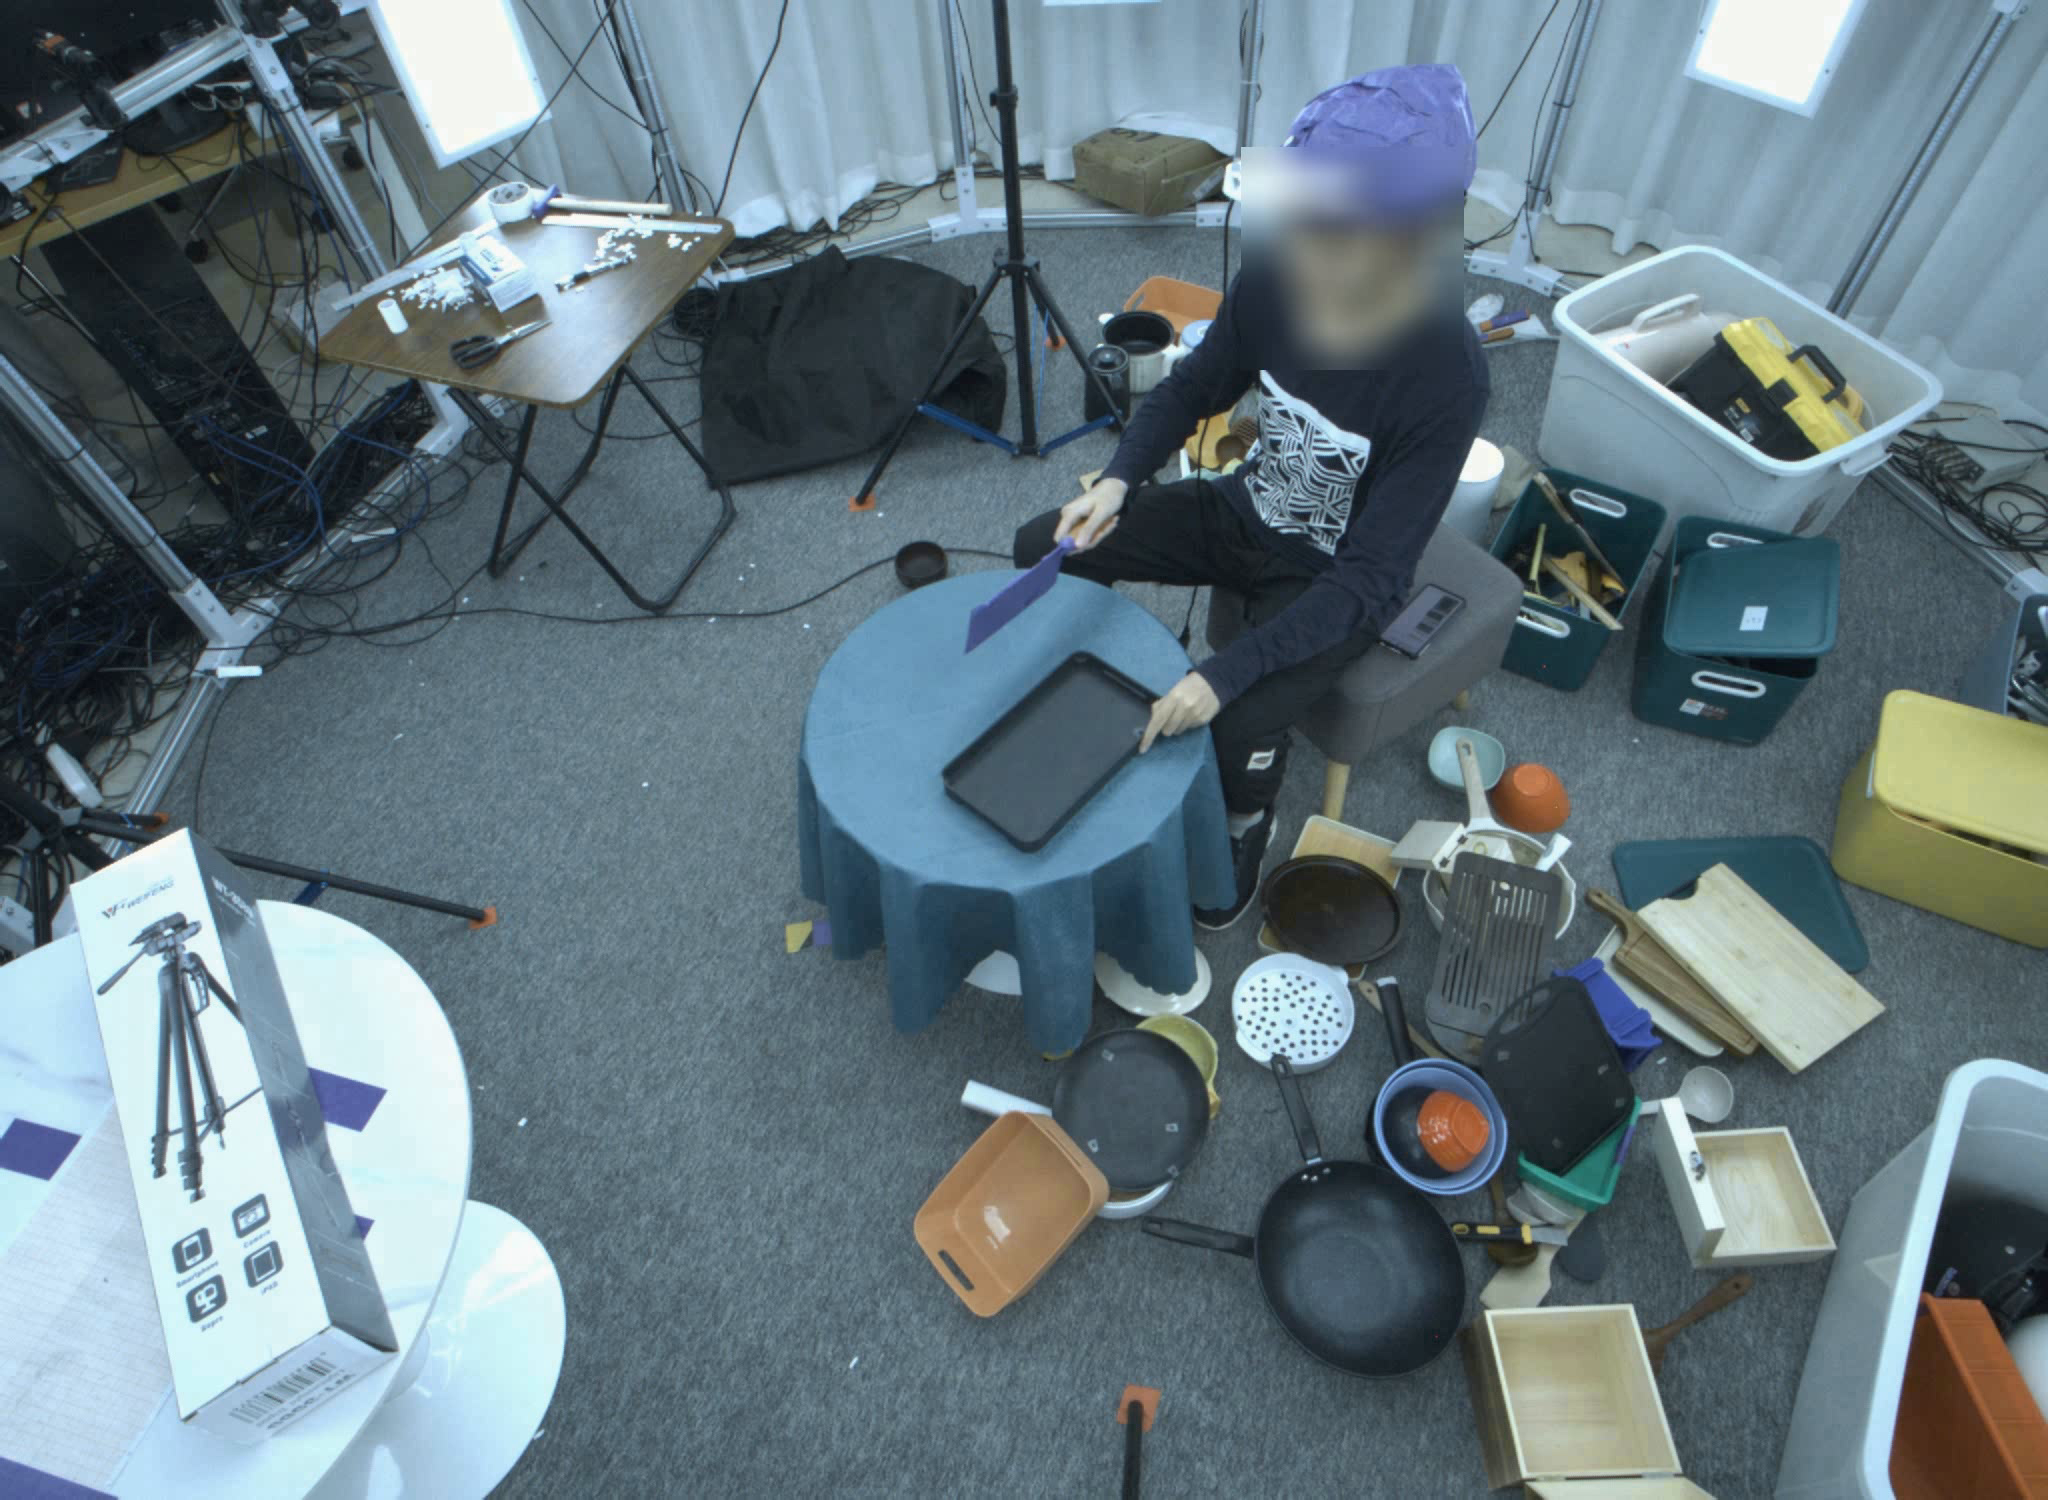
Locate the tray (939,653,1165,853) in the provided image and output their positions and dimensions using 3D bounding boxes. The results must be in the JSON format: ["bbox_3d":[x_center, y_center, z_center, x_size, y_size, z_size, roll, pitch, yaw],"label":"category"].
[{"bbox_3d":[0.044,-0.002,1.775,0.181,0.037,0.320,34,60,23],"label":"tray"}]

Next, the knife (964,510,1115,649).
[{"bbox_3d":[0.020,-0.254,1.820,0.032,0.104,0.318,41,57,17],"label":"knife"}]
